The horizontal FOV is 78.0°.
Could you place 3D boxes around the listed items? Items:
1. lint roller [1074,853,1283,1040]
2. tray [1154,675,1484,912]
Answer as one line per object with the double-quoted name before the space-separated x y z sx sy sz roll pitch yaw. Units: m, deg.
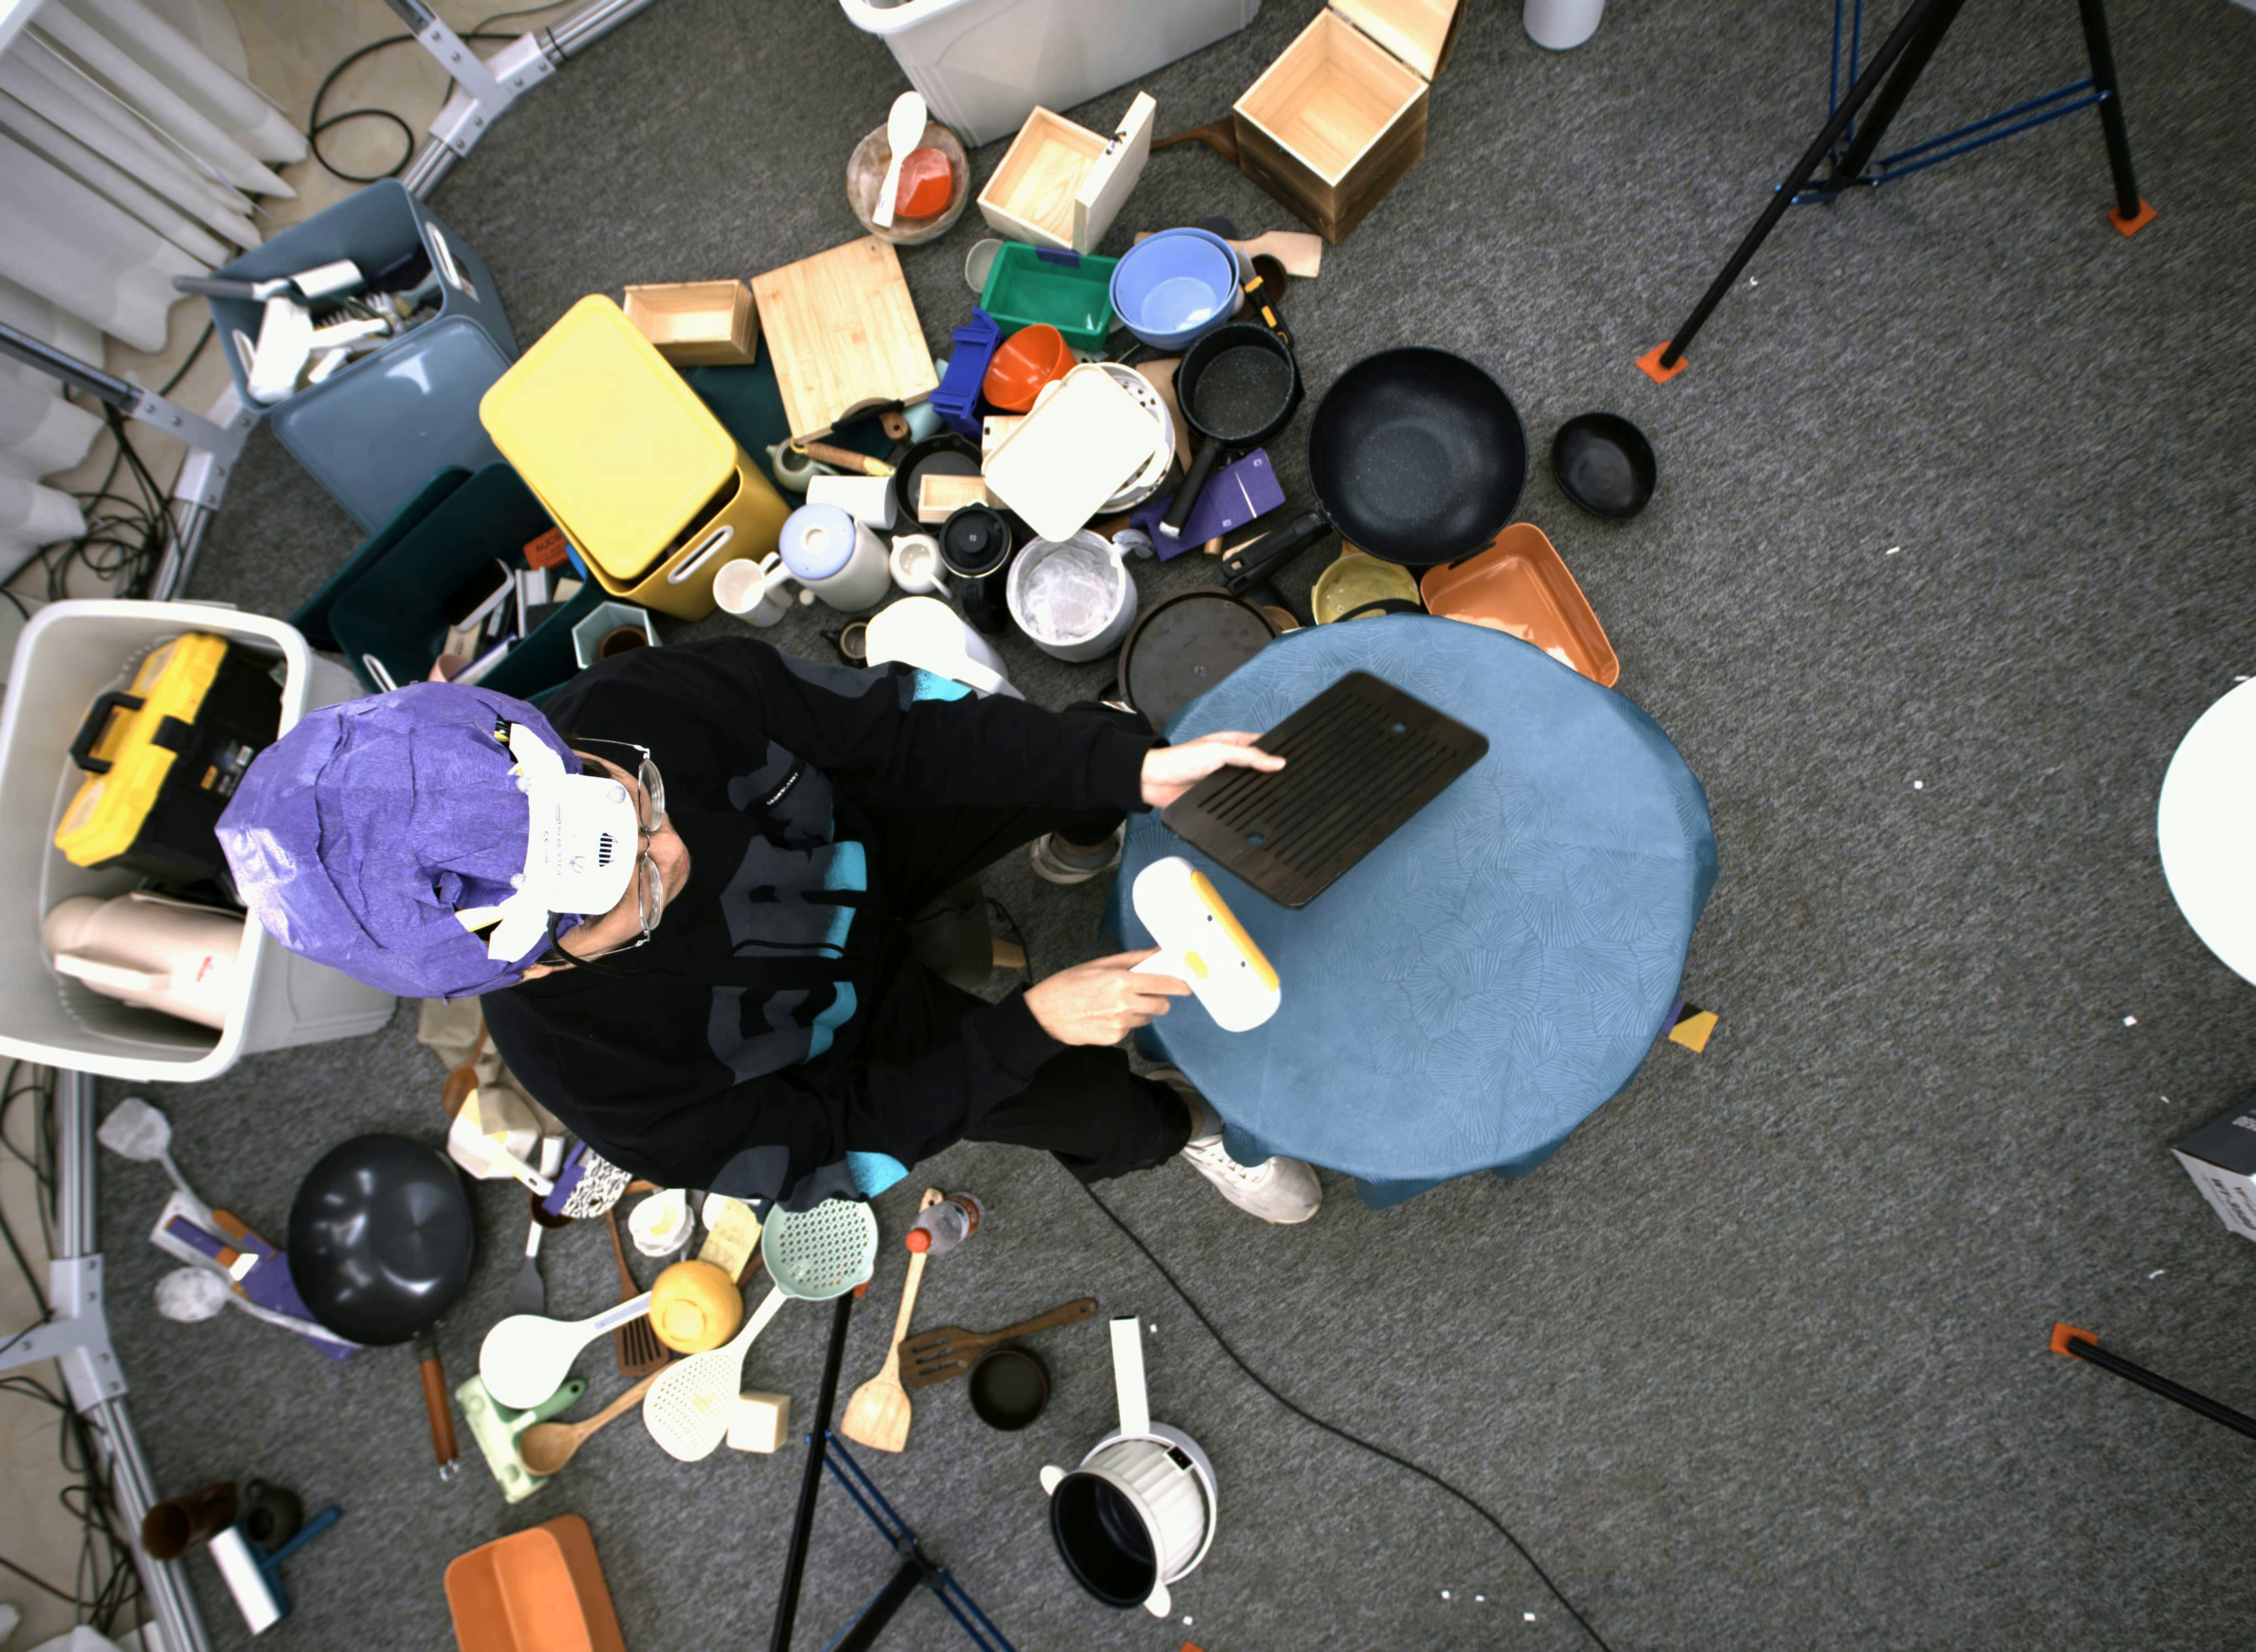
"lint roller" 0.028 0.141 1.338 0.196 0.072 0.194 -34 113 27
"tray" 0.184 -0.038 1.299 0.300 0.019 0.169 -36 55 -29
